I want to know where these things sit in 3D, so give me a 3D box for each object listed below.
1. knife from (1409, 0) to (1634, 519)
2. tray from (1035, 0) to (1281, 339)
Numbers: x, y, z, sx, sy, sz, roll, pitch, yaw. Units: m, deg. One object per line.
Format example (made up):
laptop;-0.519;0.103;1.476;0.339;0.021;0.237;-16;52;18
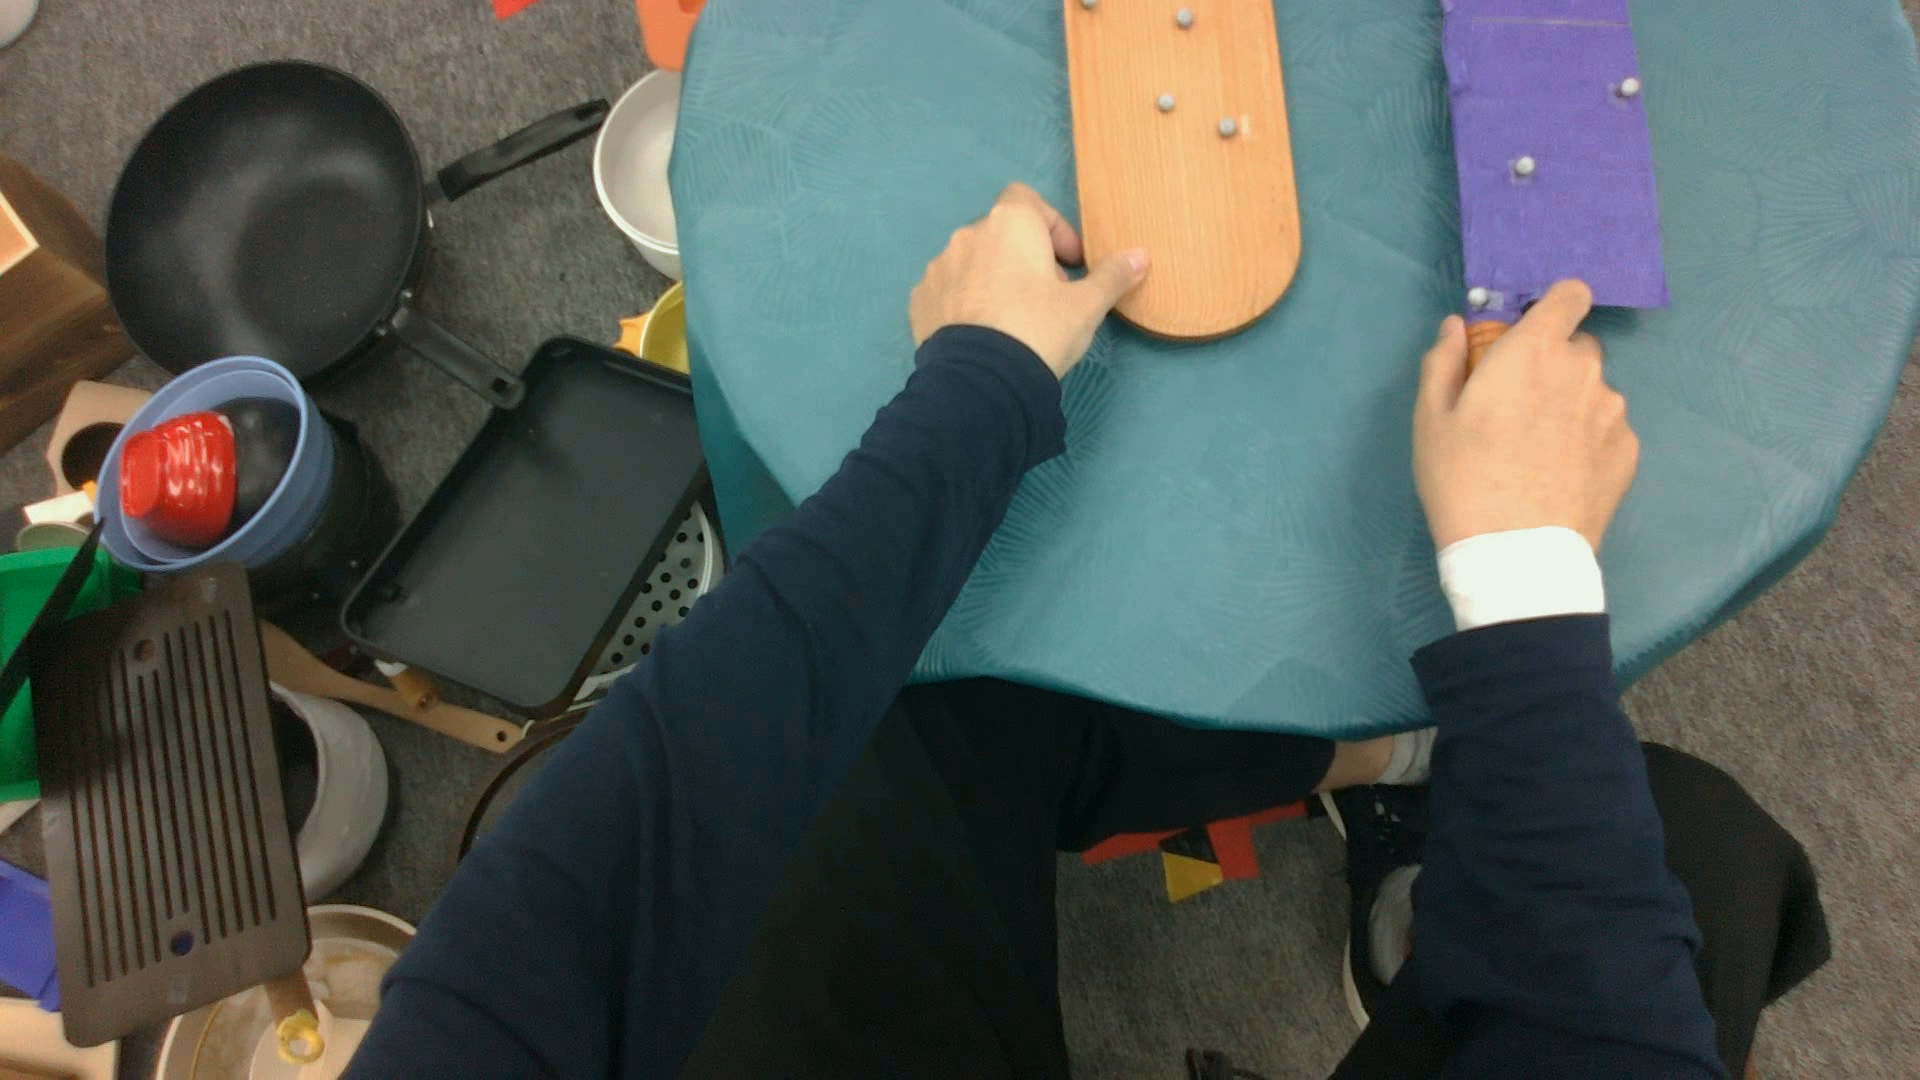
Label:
knife;0.257;-0.160;0.627;0.104;0.032;0.316;2;71;-1
tray;0.094;-0.204;0.667;0.101;0.020;0.231;-6;75;3
